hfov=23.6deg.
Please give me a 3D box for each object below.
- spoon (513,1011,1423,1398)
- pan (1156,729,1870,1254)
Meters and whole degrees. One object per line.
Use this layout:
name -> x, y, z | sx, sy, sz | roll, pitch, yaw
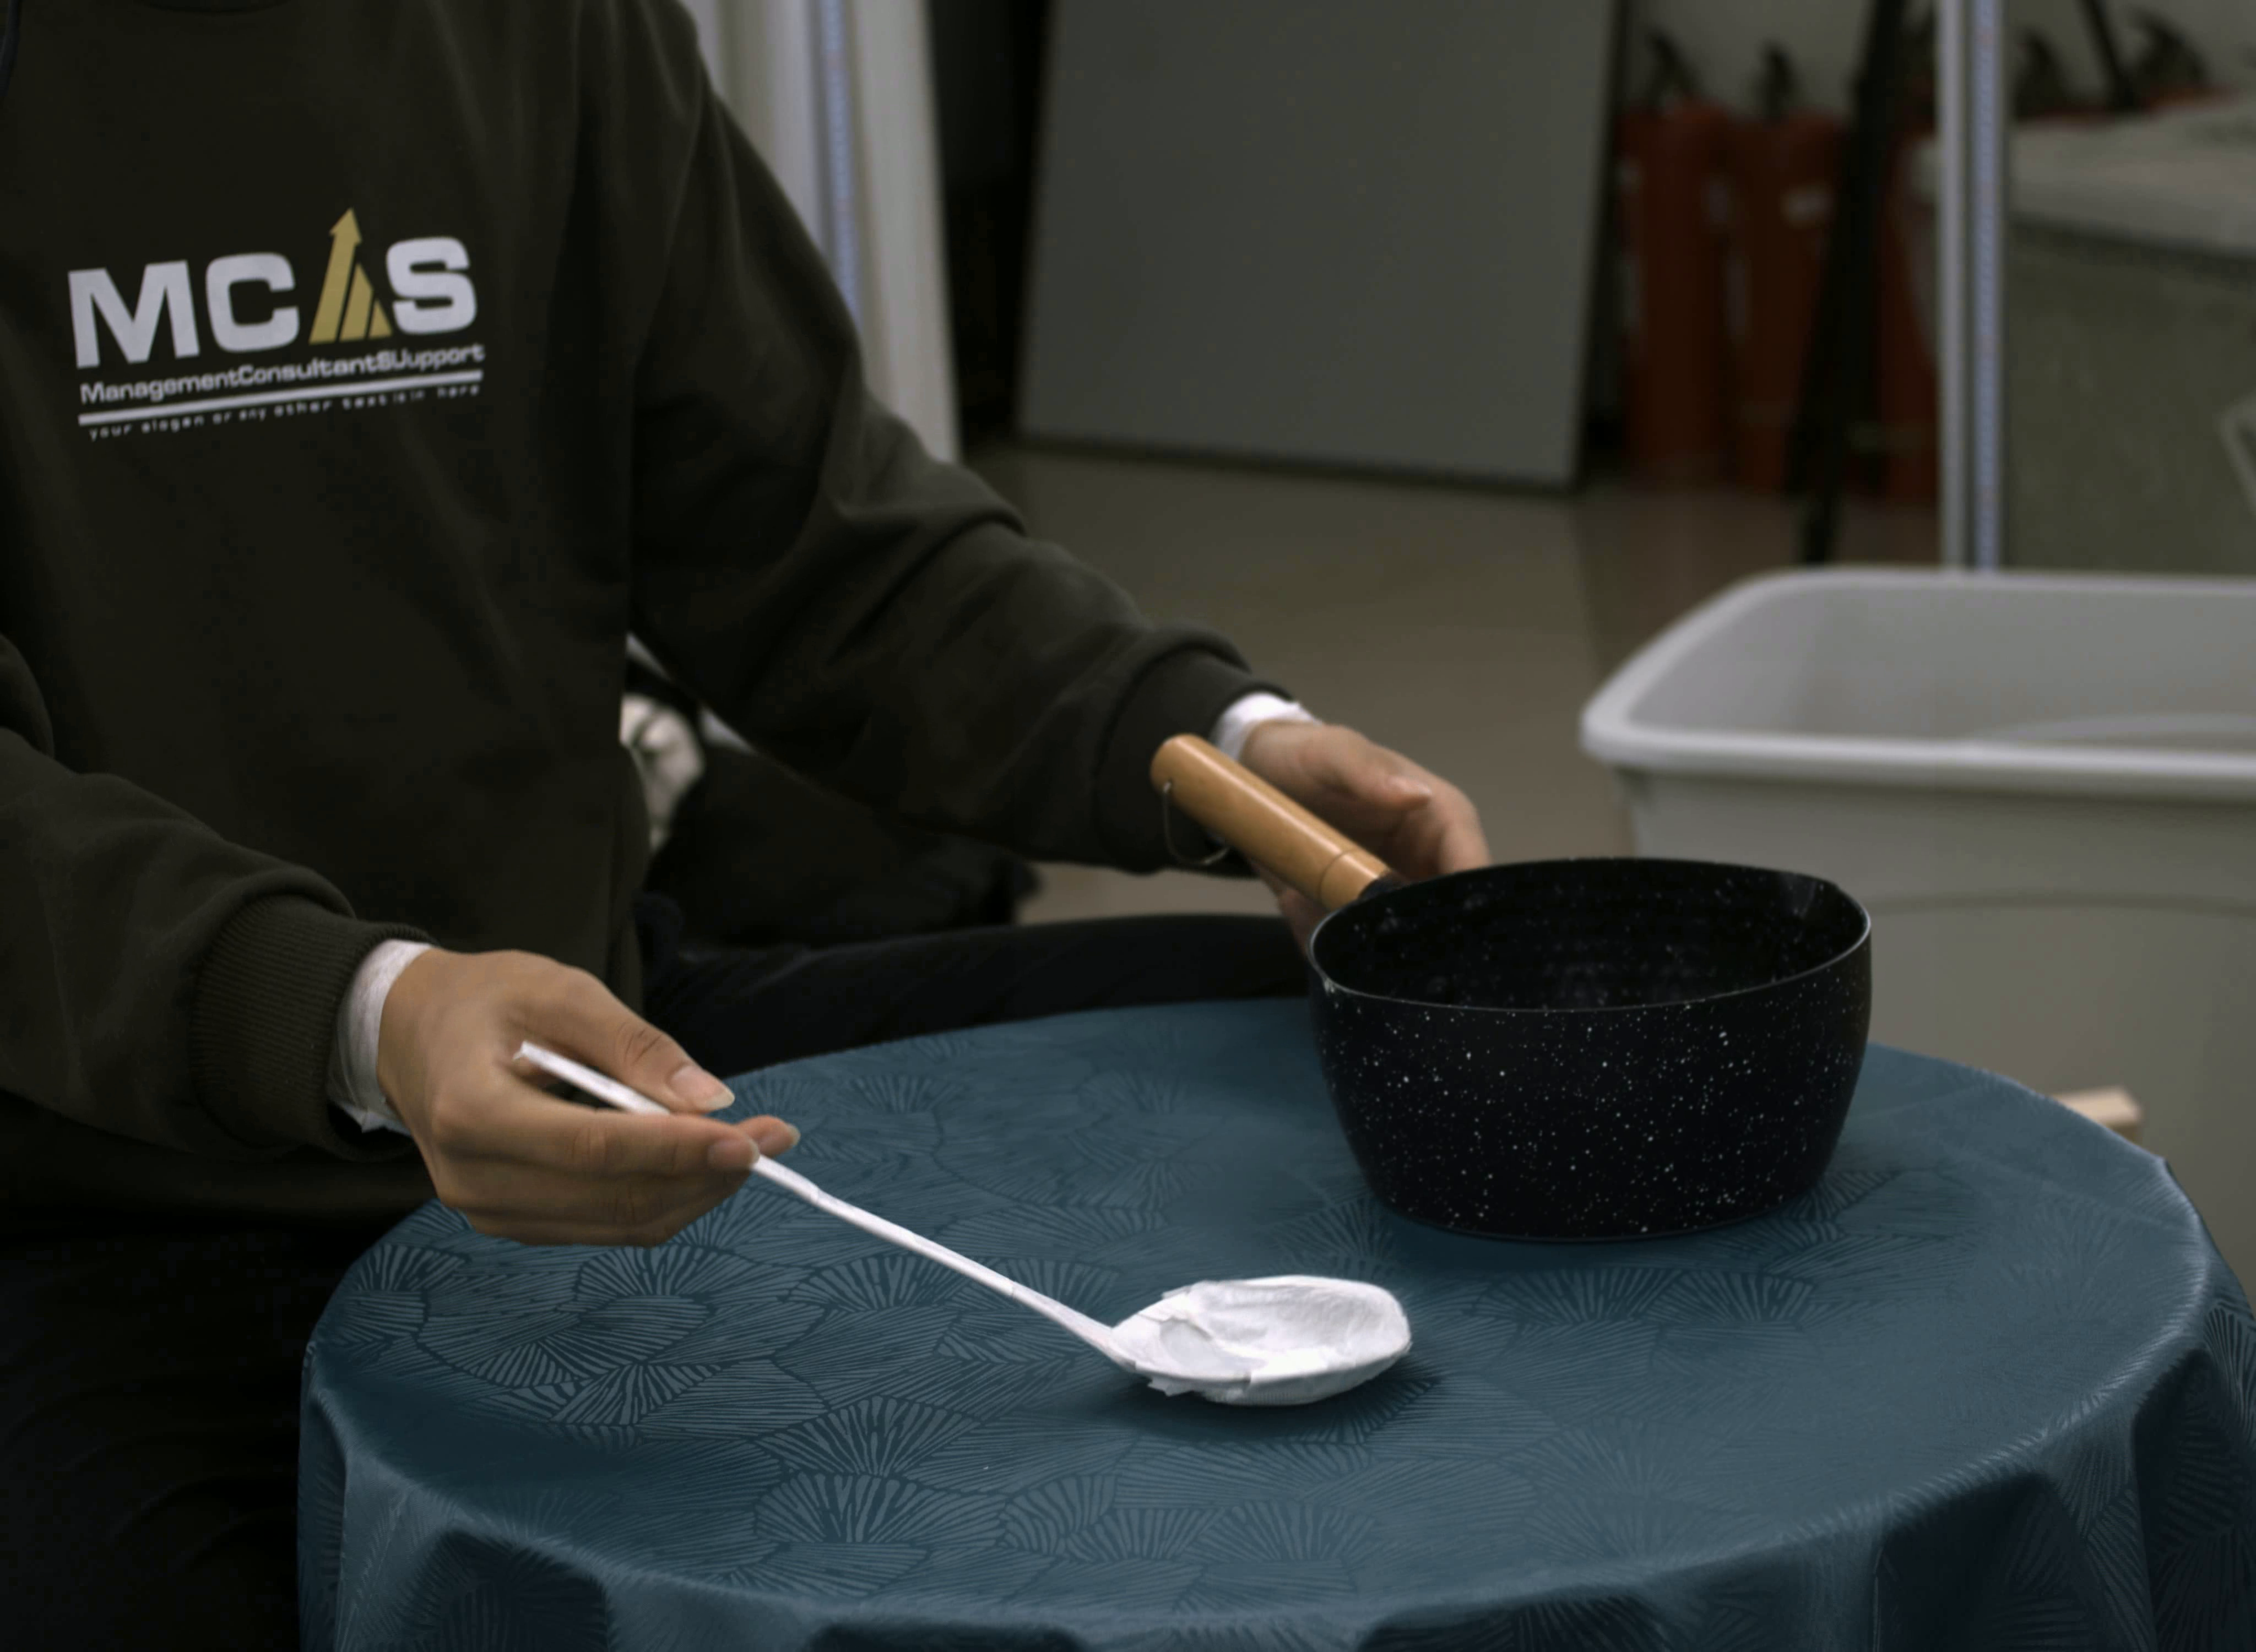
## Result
spoon -> -0.045, 0.099, 1.575 | 0.274, 0.060, 0.101 | 29, 4, -6
pan -> 0.107, 0.049, 1.811 | 0.203, 0.109, 0.346 | -13, 17, -30
